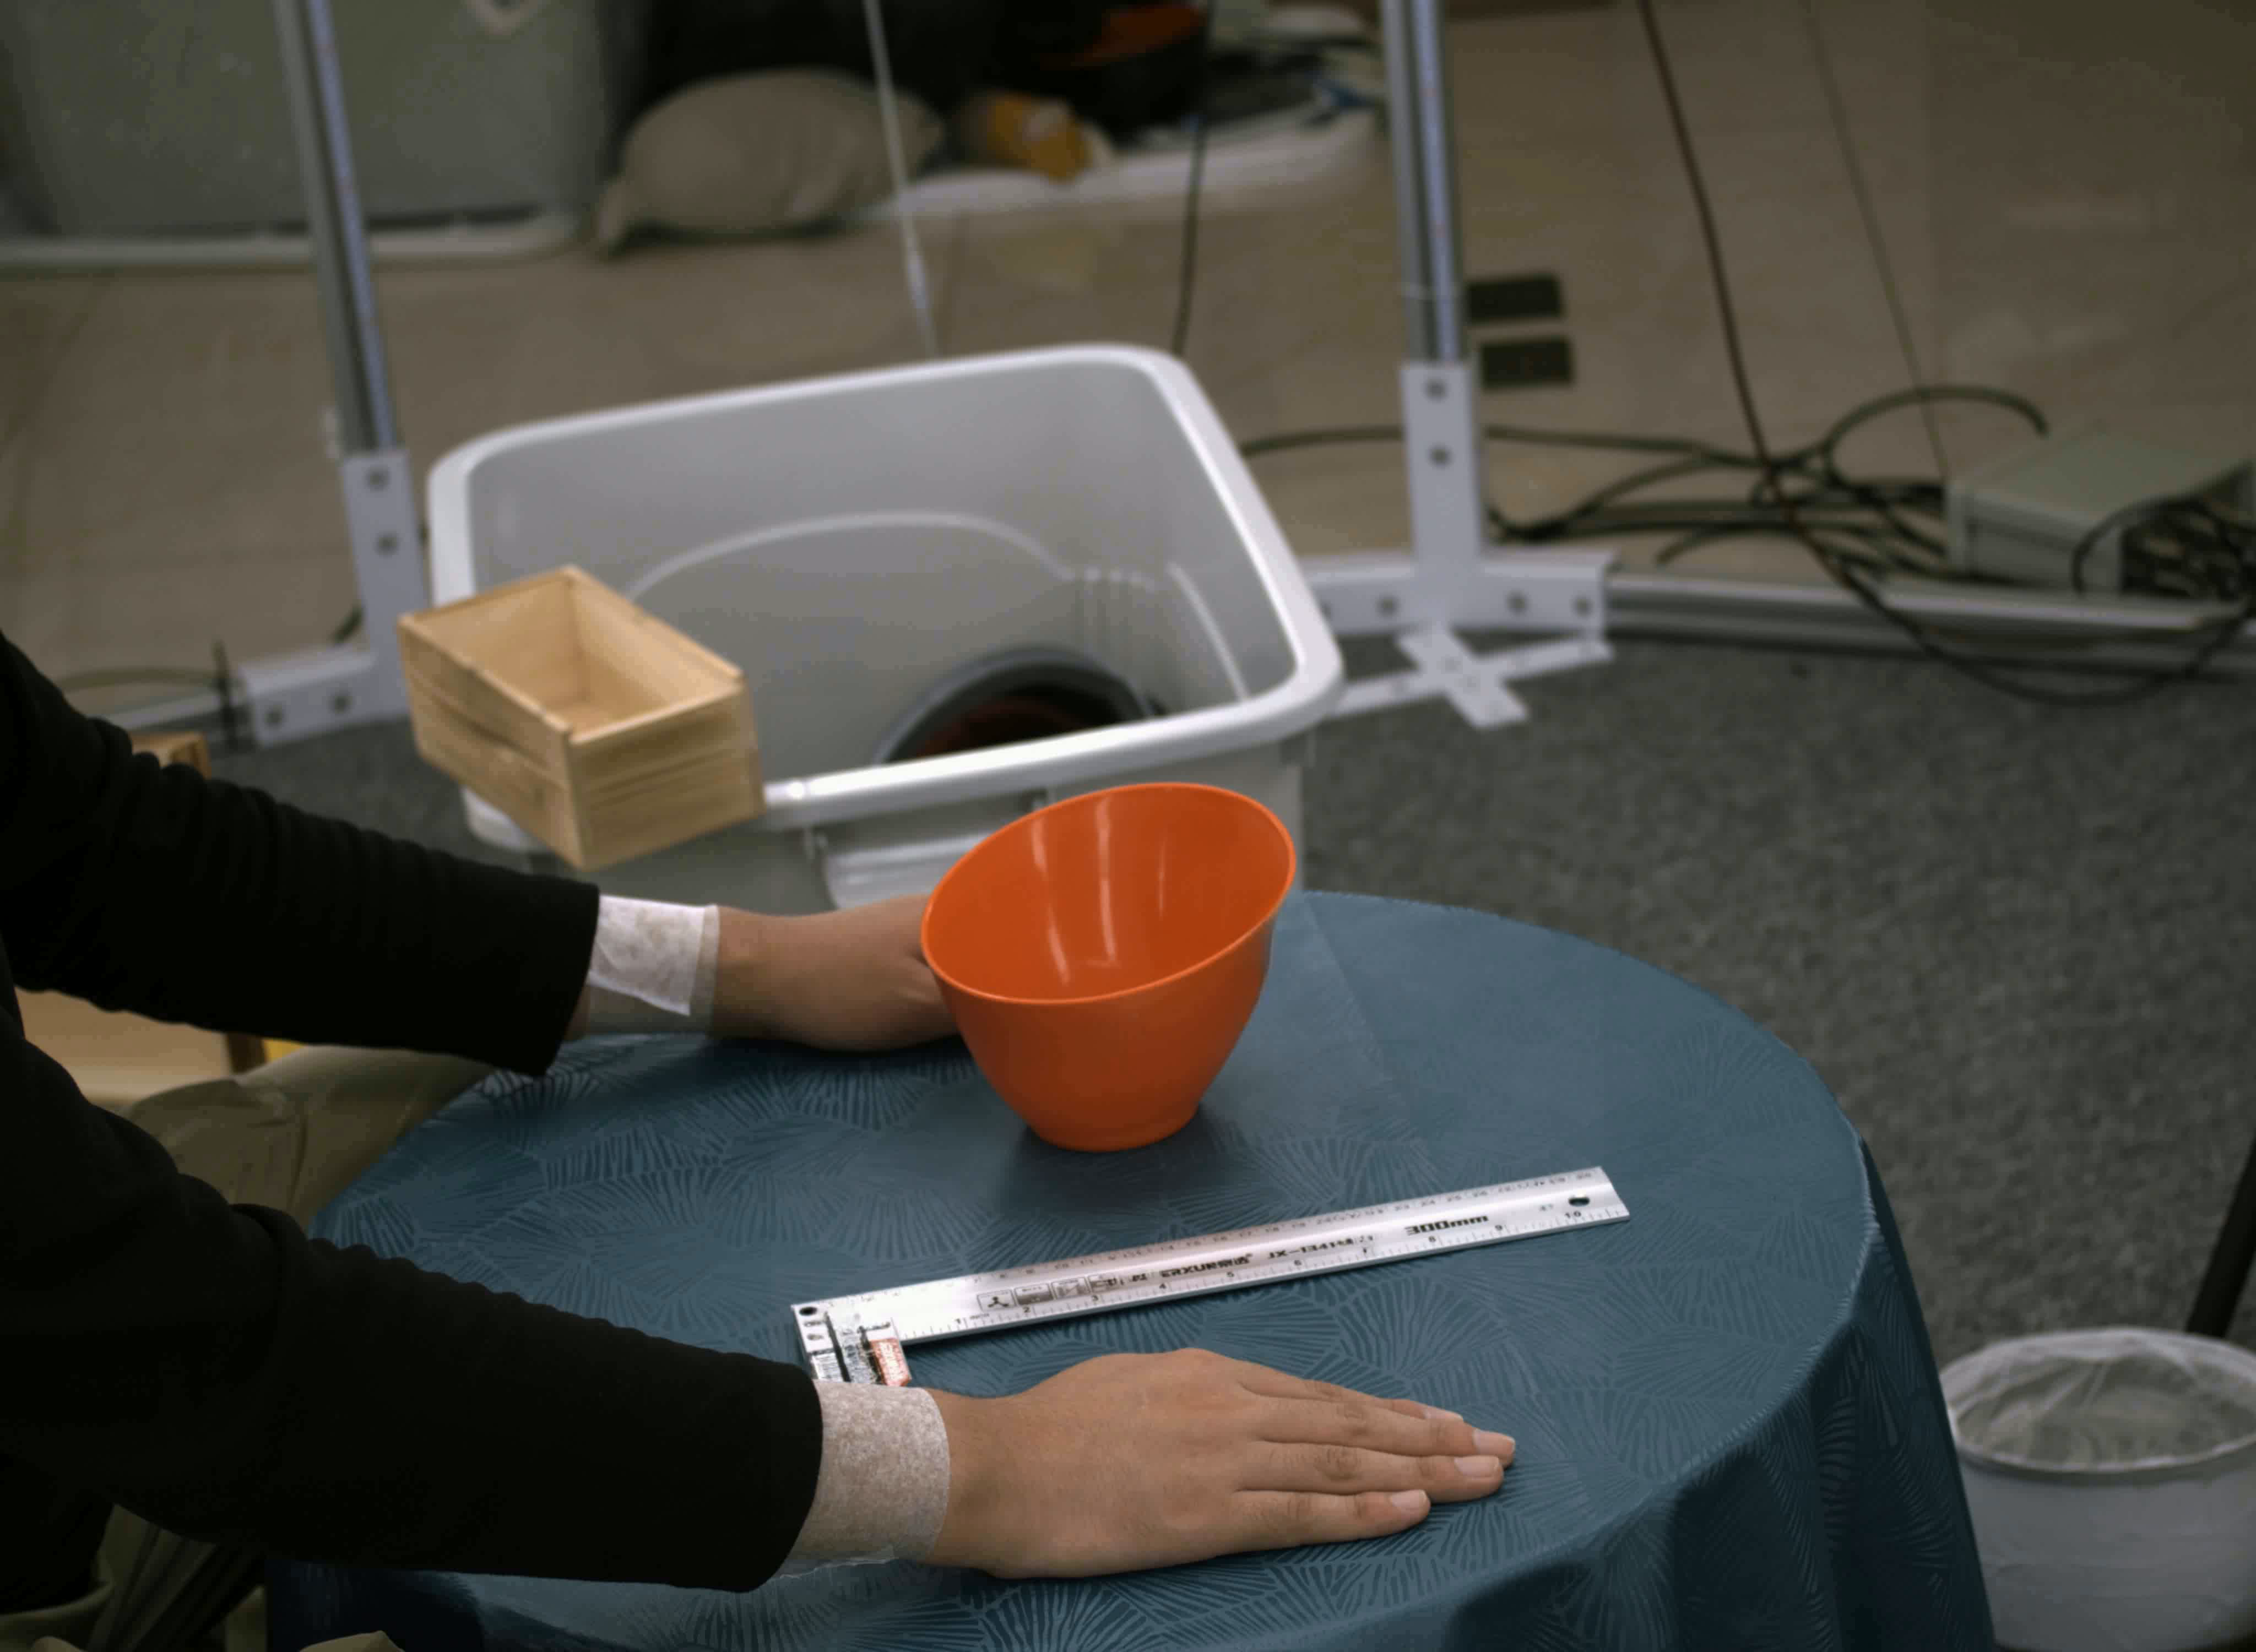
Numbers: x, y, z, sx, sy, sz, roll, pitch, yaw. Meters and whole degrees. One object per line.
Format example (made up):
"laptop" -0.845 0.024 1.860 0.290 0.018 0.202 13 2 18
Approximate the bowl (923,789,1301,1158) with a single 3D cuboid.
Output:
"bowl" -0.002 0.063 2.191 0.148 0.106 0.146 -5 27 3

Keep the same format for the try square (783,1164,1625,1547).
"try square" 0.038 0.185 2.040 0.312 0.016 0.150 -9 30 -8
